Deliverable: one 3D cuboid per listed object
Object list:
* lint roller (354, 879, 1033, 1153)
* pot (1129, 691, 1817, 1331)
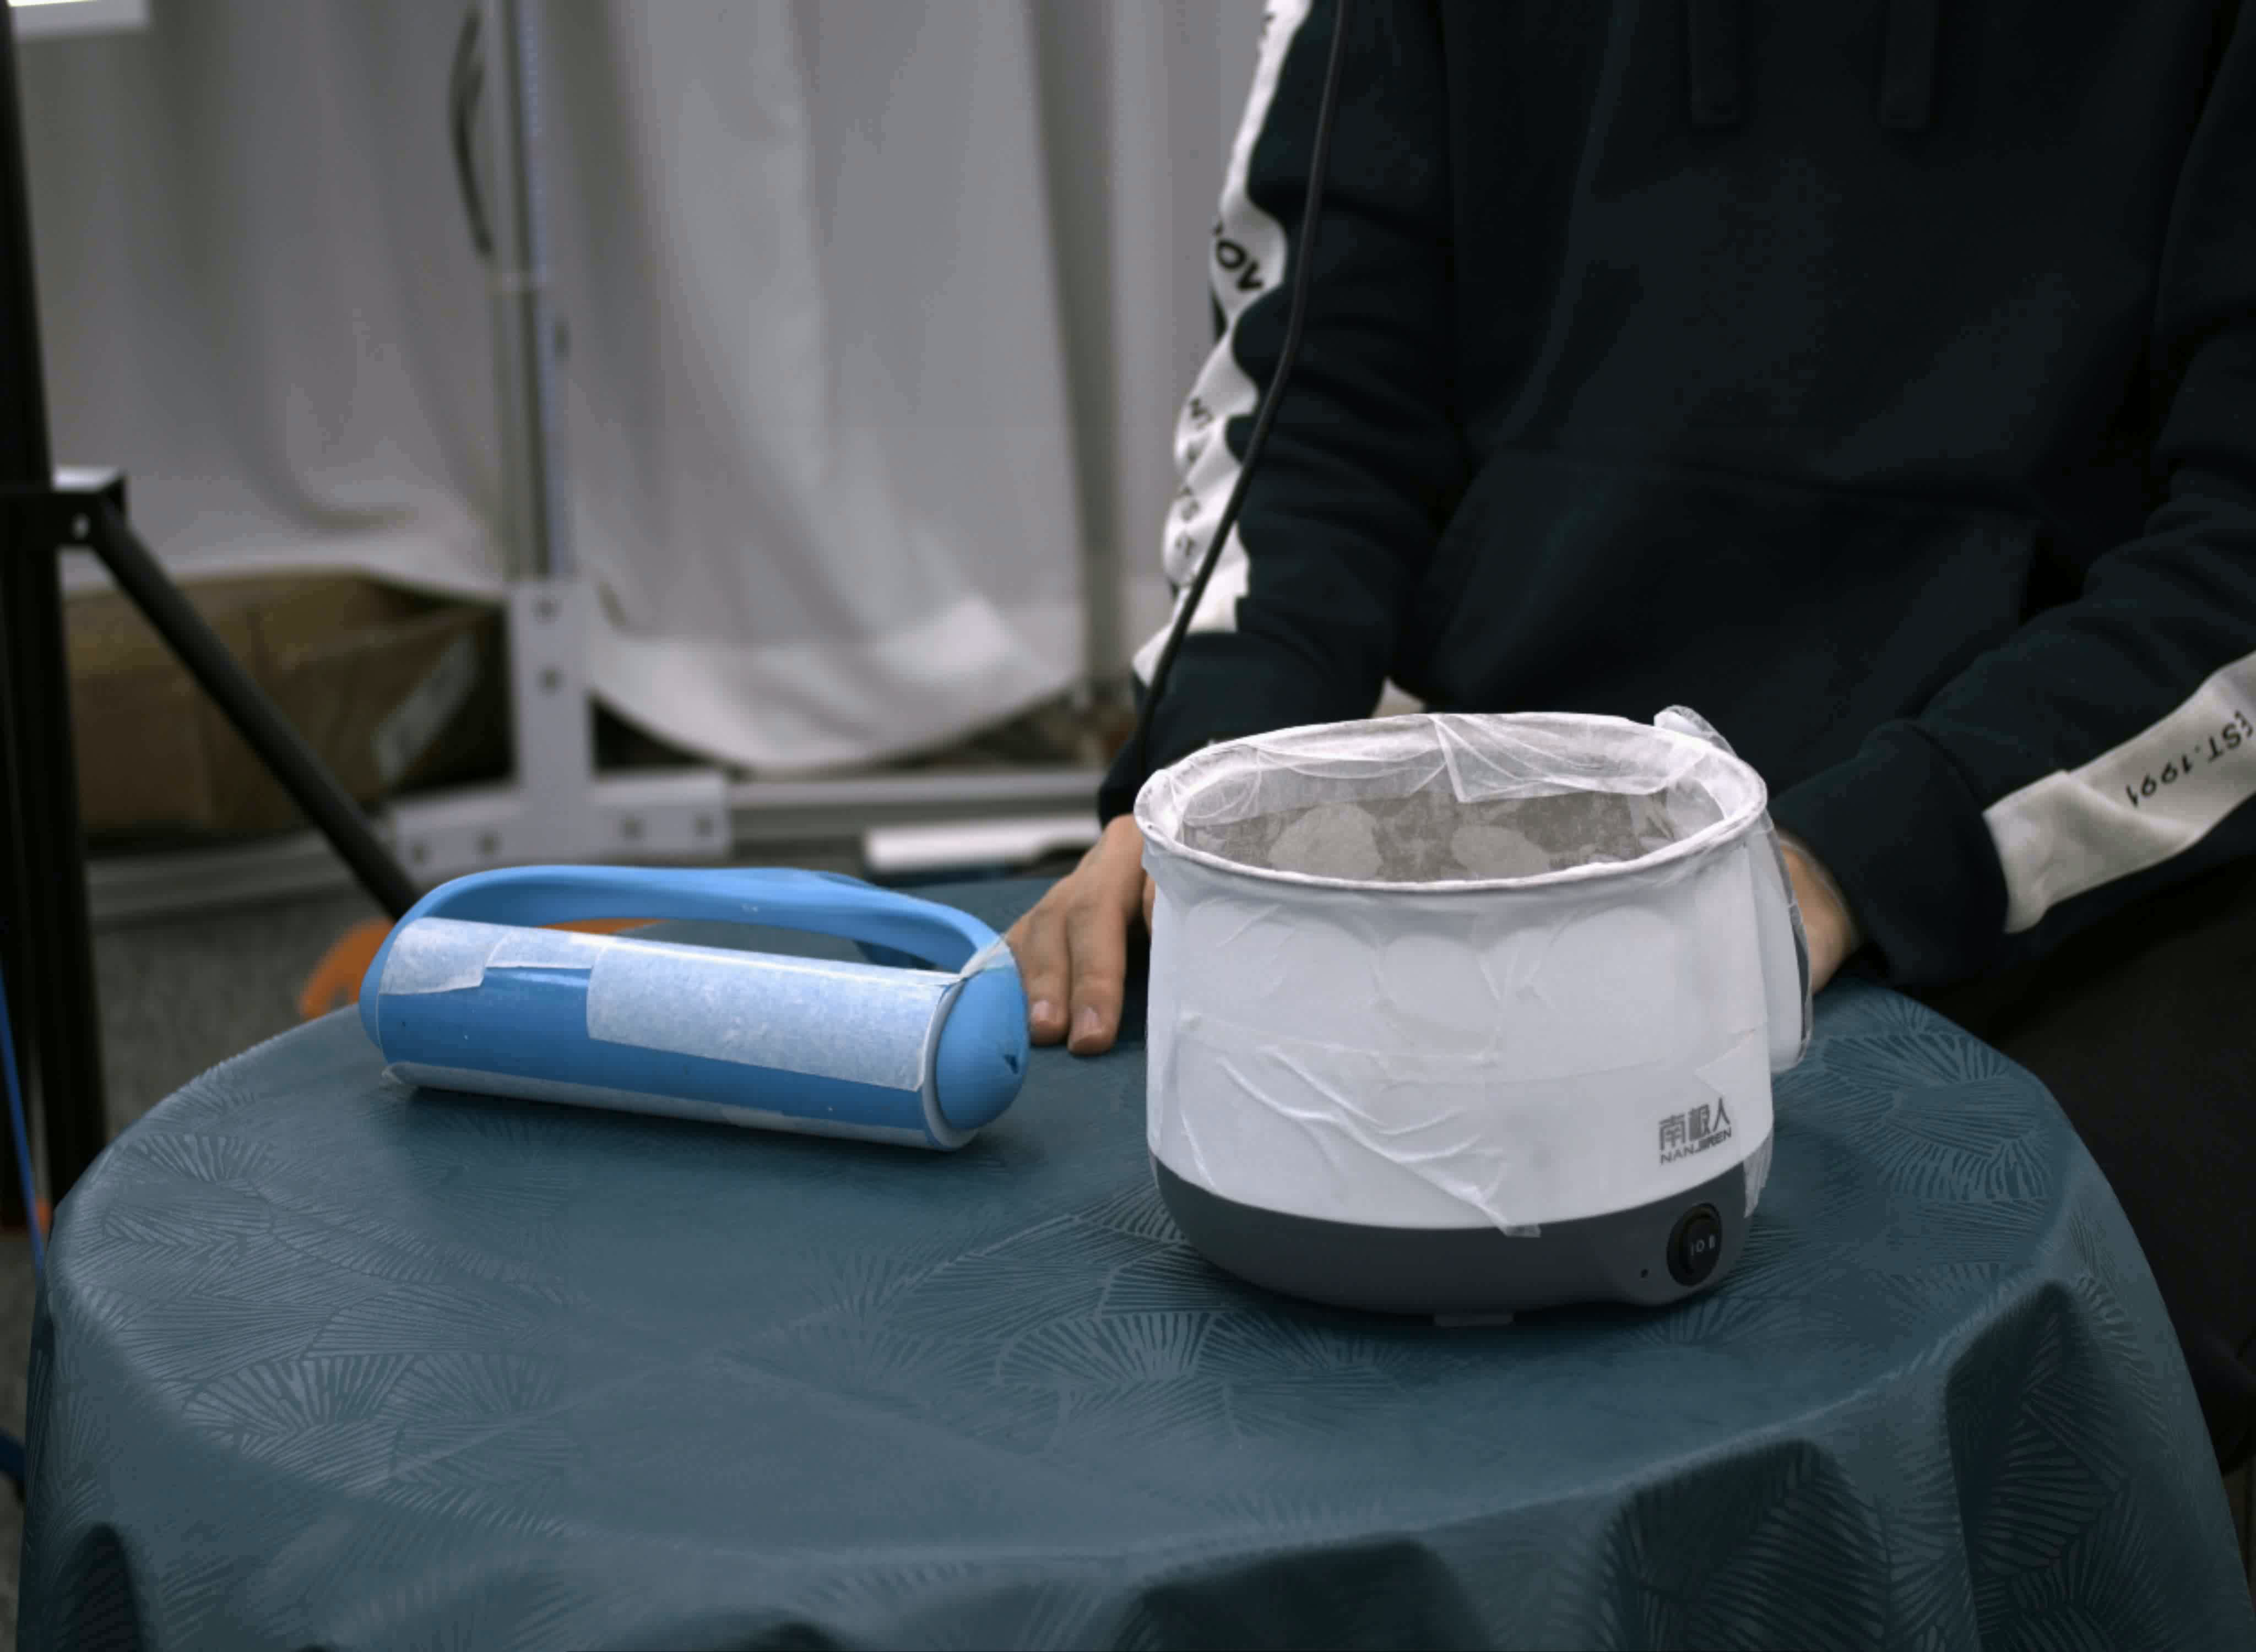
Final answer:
[{"bbox_3d":[-0.115,0.048,1.688,0.232,0.068,0.178,2,17,23],"label":"lint roller"},{"bbox_3d":[0.111,0.044,1.503,0.228,0.136,0.183,-19,23,-41],"label":"pot"}]
